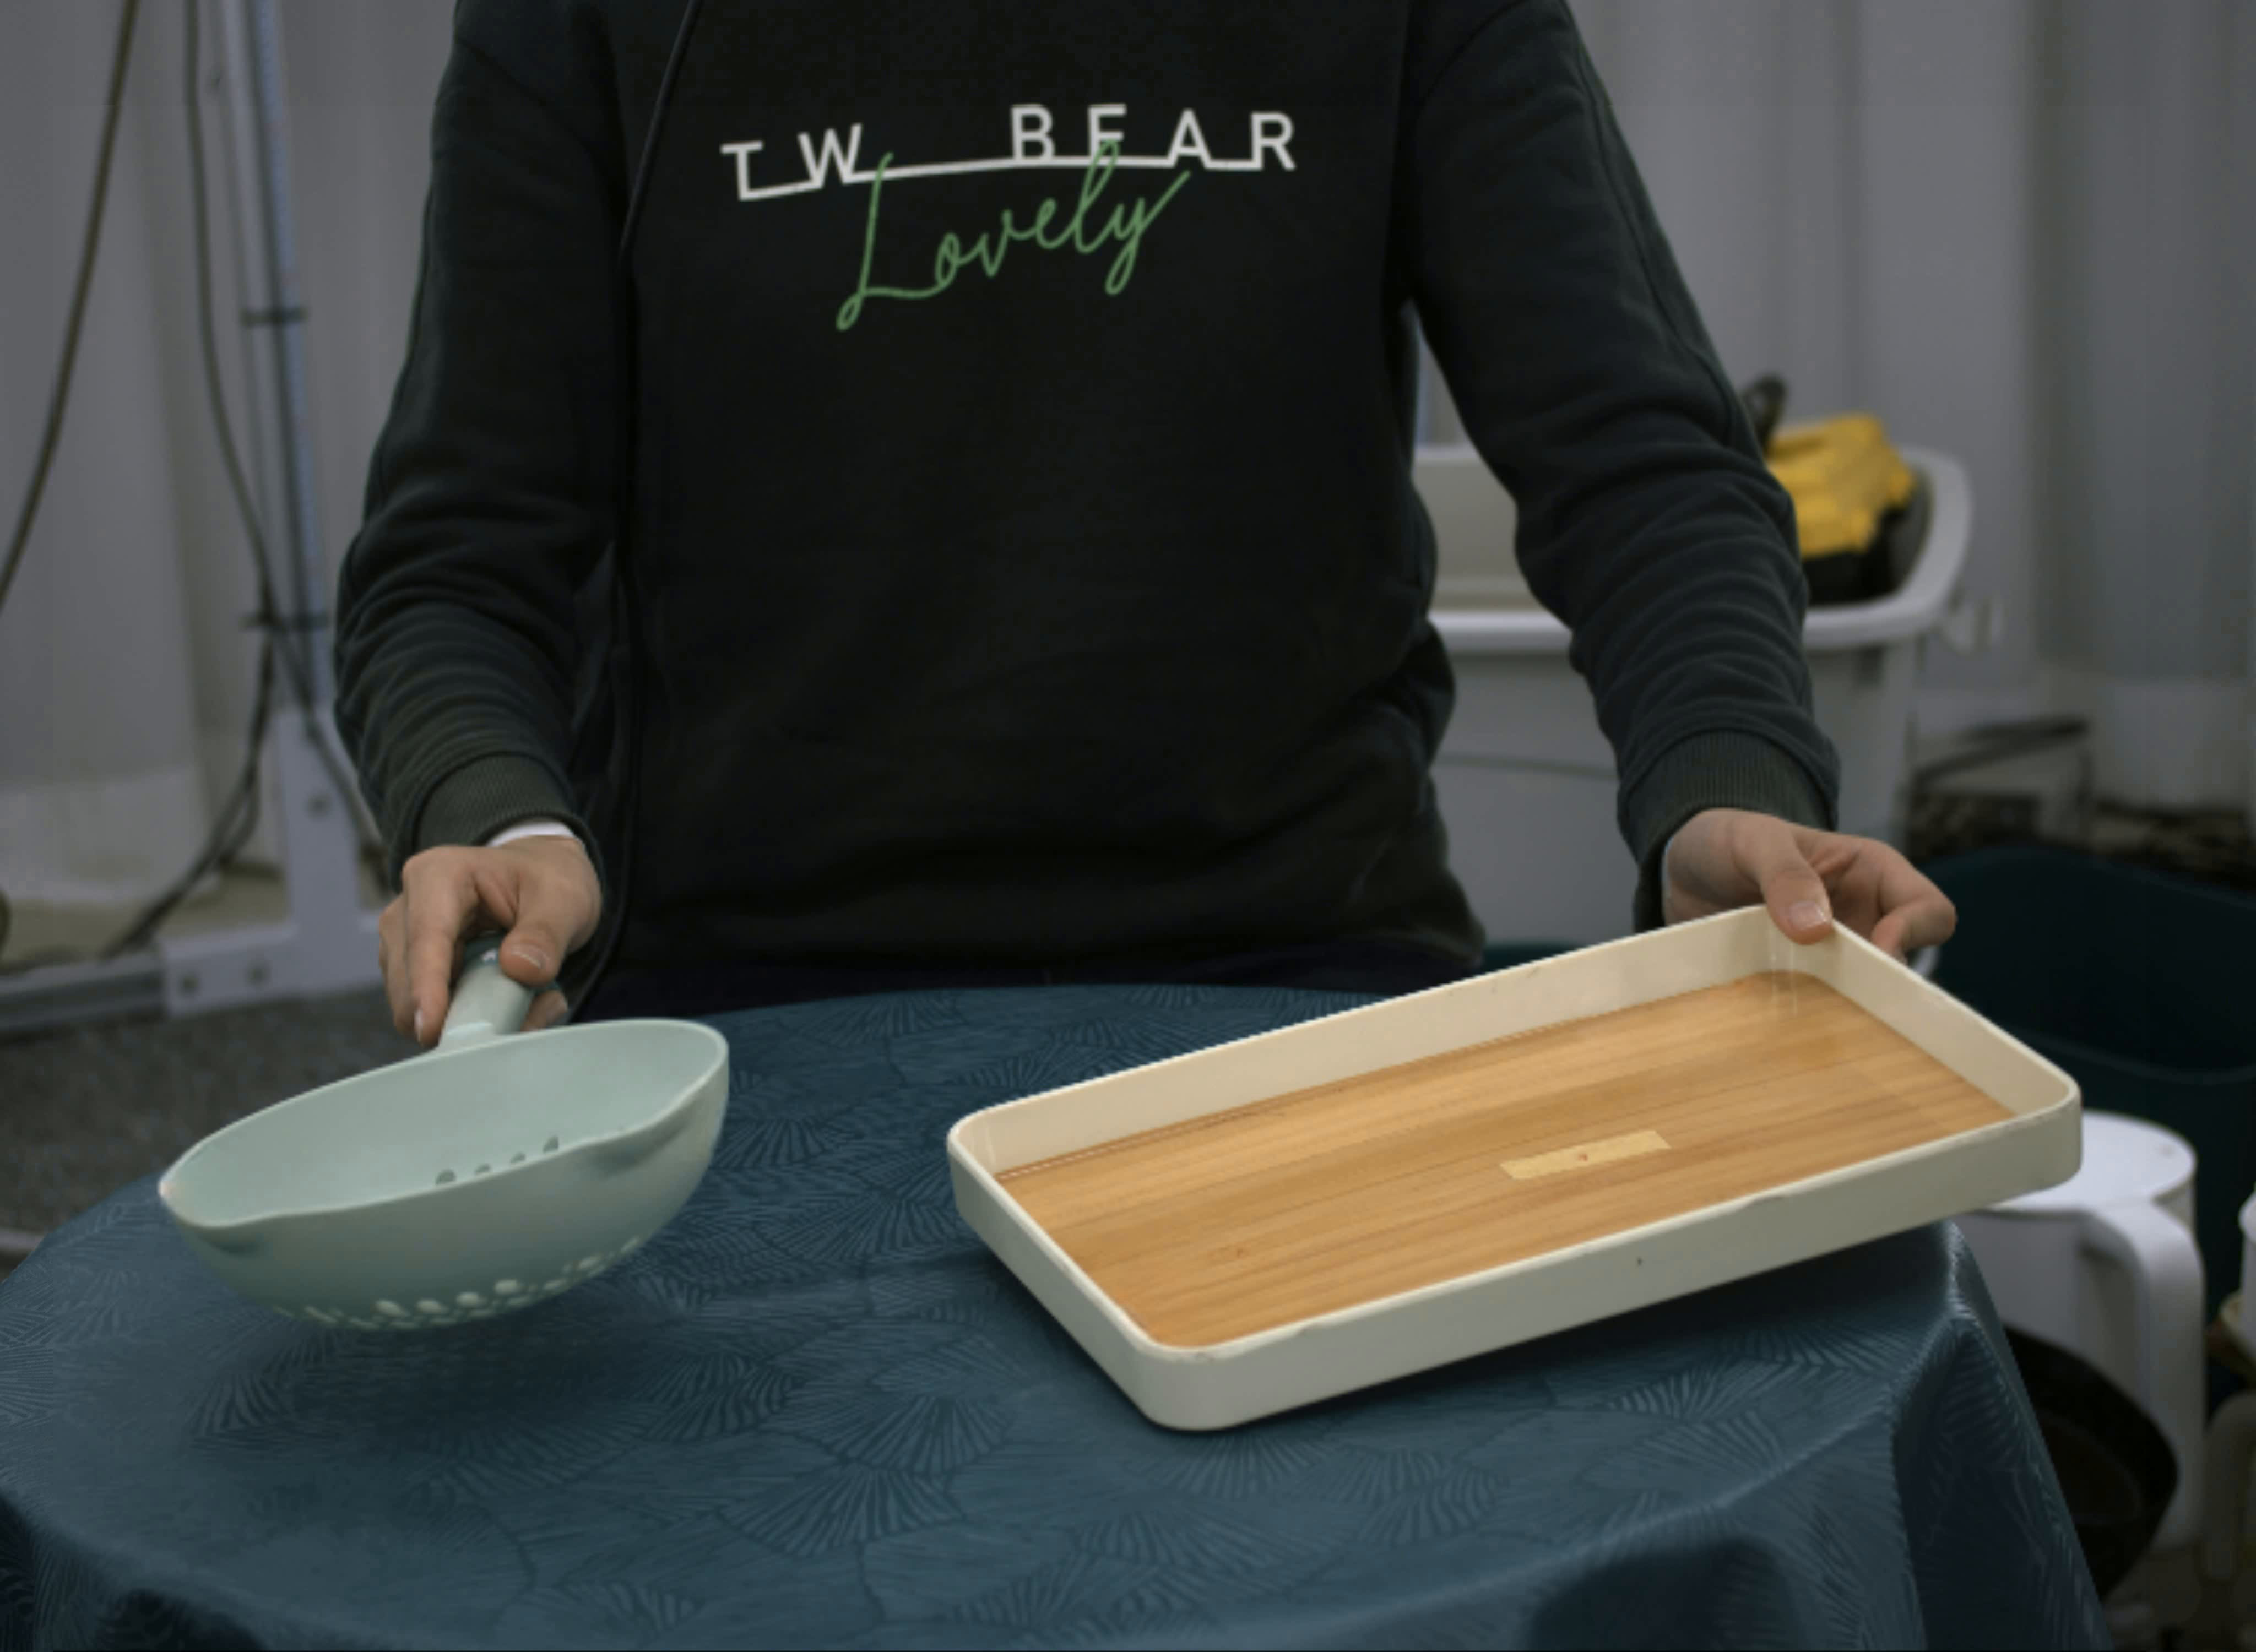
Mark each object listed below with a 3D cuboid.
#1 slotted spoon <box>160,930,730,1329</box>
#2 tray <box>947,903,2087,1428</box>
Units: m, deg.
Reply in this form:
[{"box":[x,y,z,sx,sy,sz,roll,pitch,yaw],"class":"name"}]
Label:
[{"box":[-0.199,0.076,1.674,0.169,0.075,0.362,-13,19,0],"class":"slotted spoon"},{"box":[0.113,0.096,1.626,0.299,0.027,0.193,-14,22,-18],"class":"tray"}]
